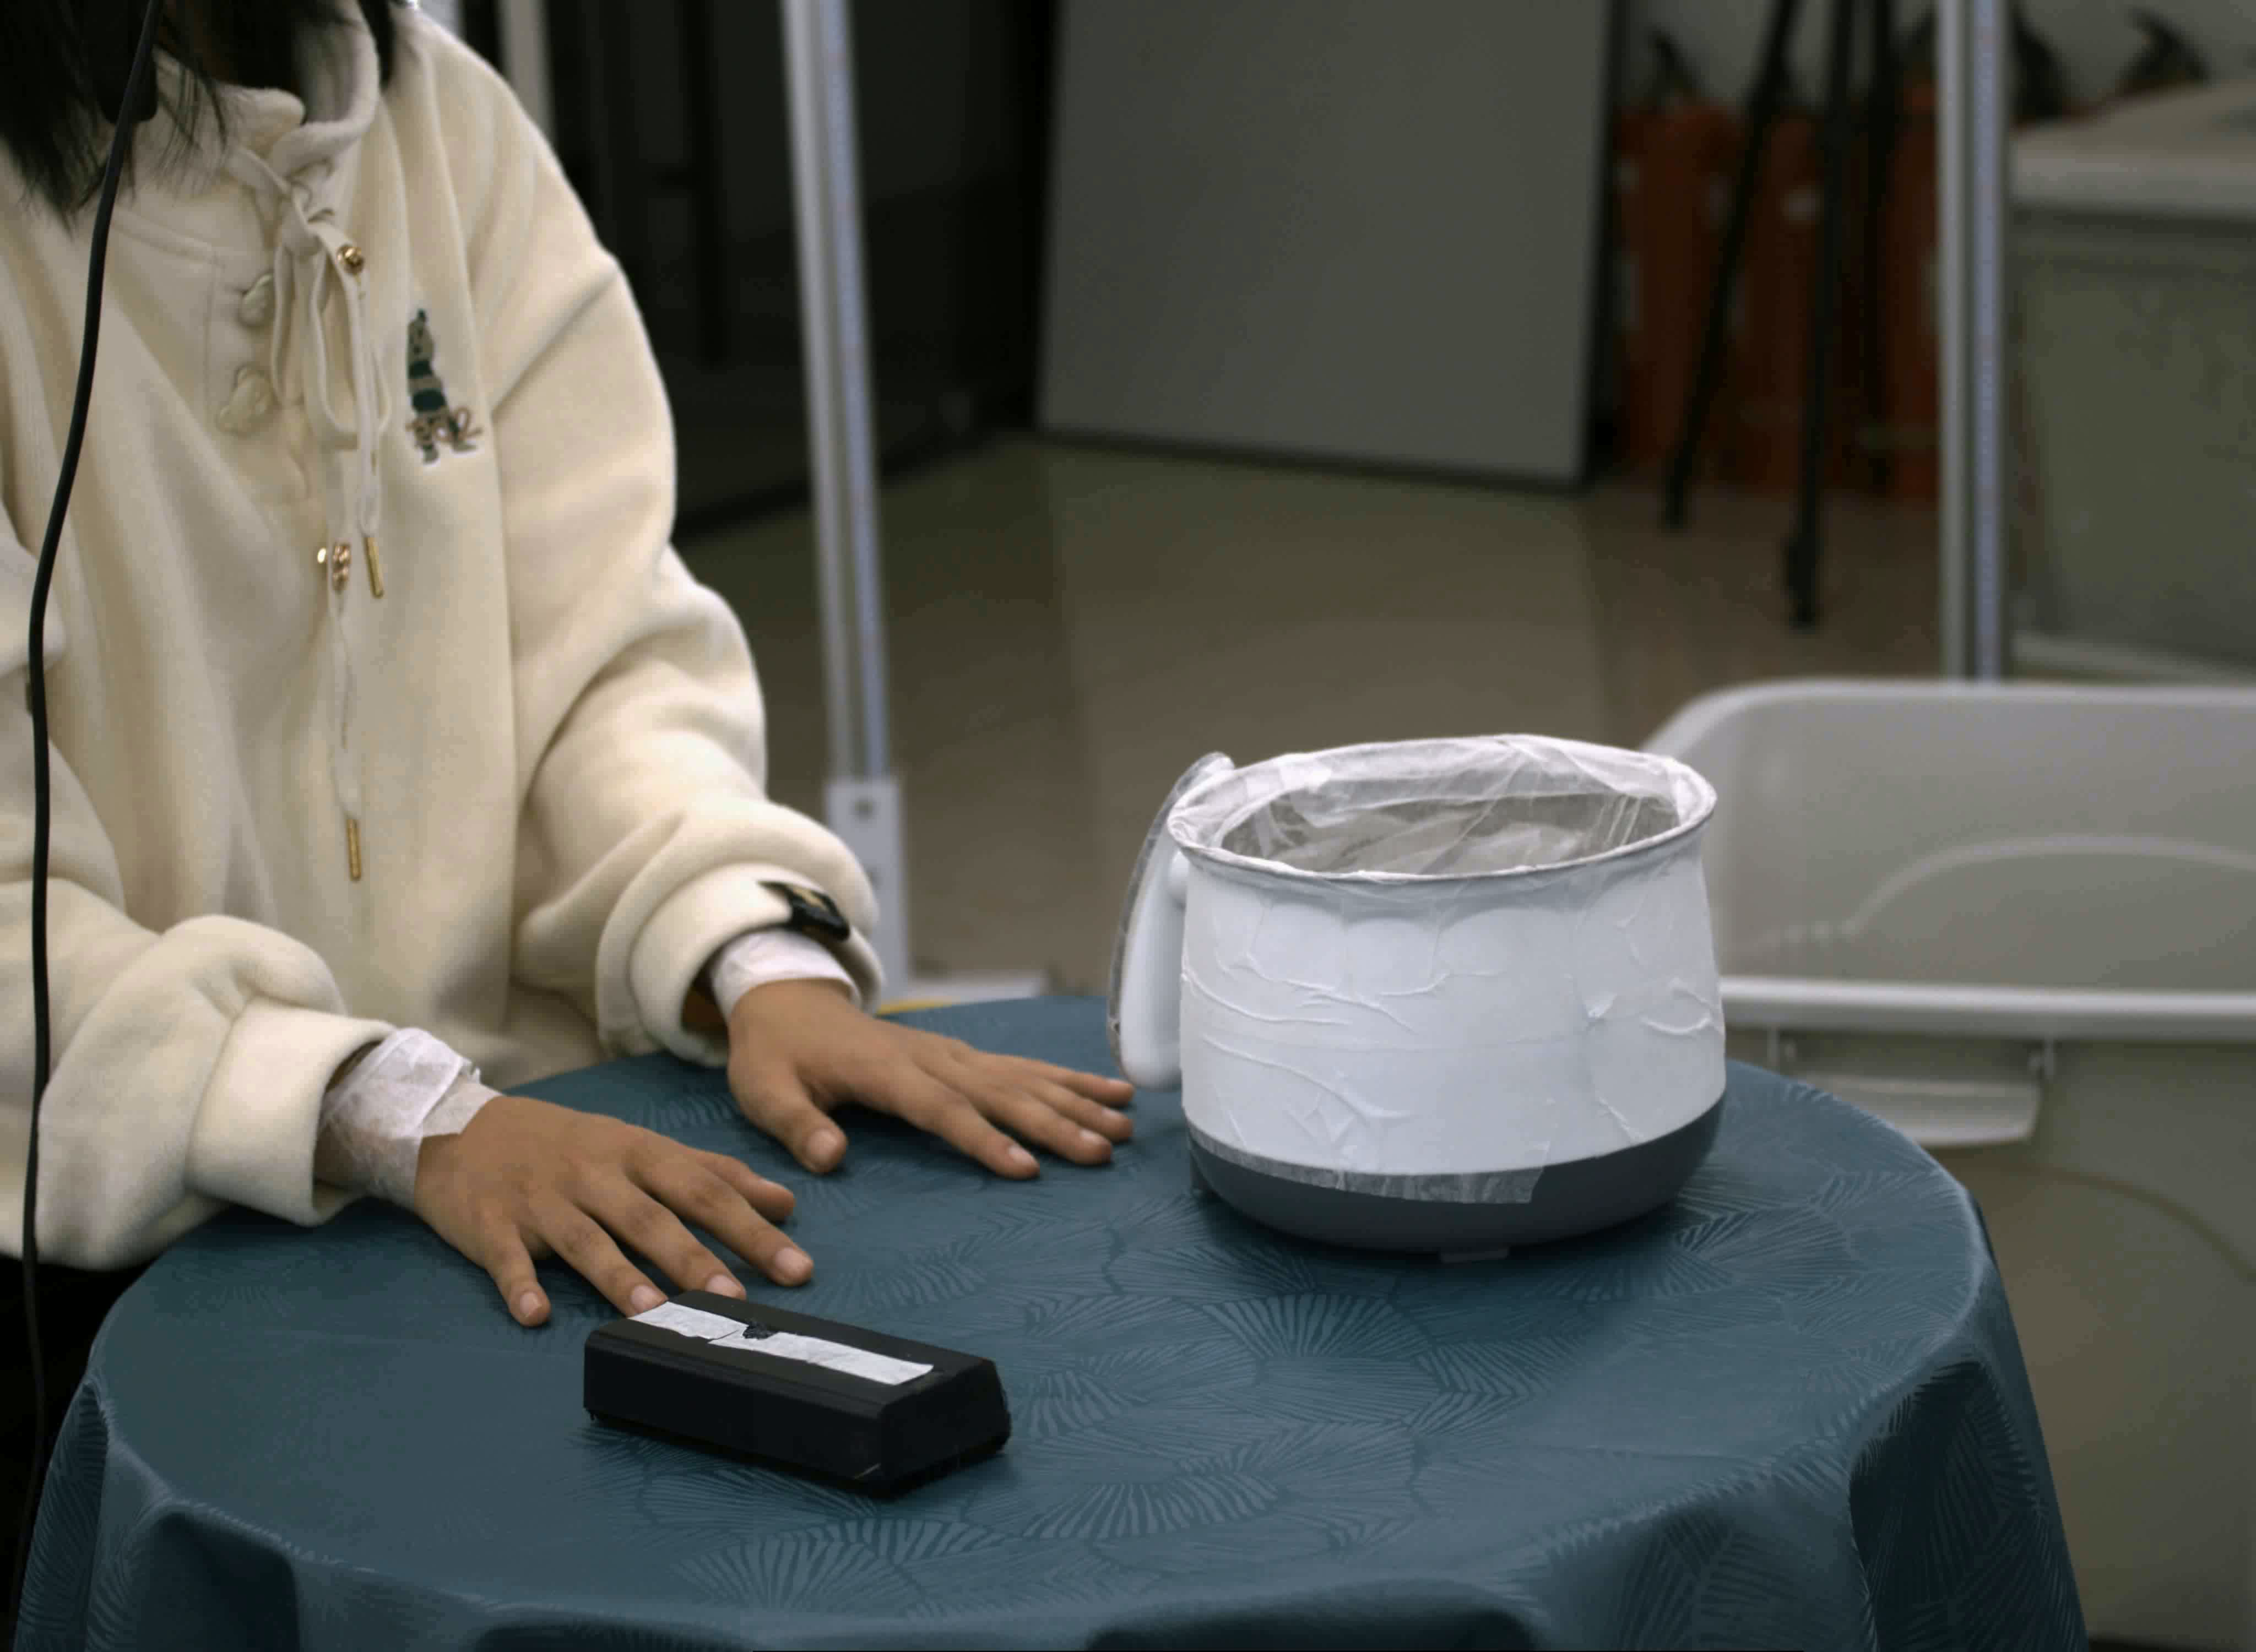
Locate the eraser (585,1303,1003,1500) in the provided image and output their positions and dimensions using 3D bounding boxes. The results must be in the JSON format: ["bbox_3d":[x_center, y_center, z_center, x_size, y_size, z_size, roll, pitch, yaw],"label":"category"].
[{"bbox_3d":[-0.096,0.165,1.562,0.126,0.031,0.052,7,17,43],"label":"eraser"}]

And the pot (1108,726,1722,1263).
[{"bbox_3d":[0.082,0.048,1.746,0.236,0.138,0.175,10,19,42],"label":"pot"}]
